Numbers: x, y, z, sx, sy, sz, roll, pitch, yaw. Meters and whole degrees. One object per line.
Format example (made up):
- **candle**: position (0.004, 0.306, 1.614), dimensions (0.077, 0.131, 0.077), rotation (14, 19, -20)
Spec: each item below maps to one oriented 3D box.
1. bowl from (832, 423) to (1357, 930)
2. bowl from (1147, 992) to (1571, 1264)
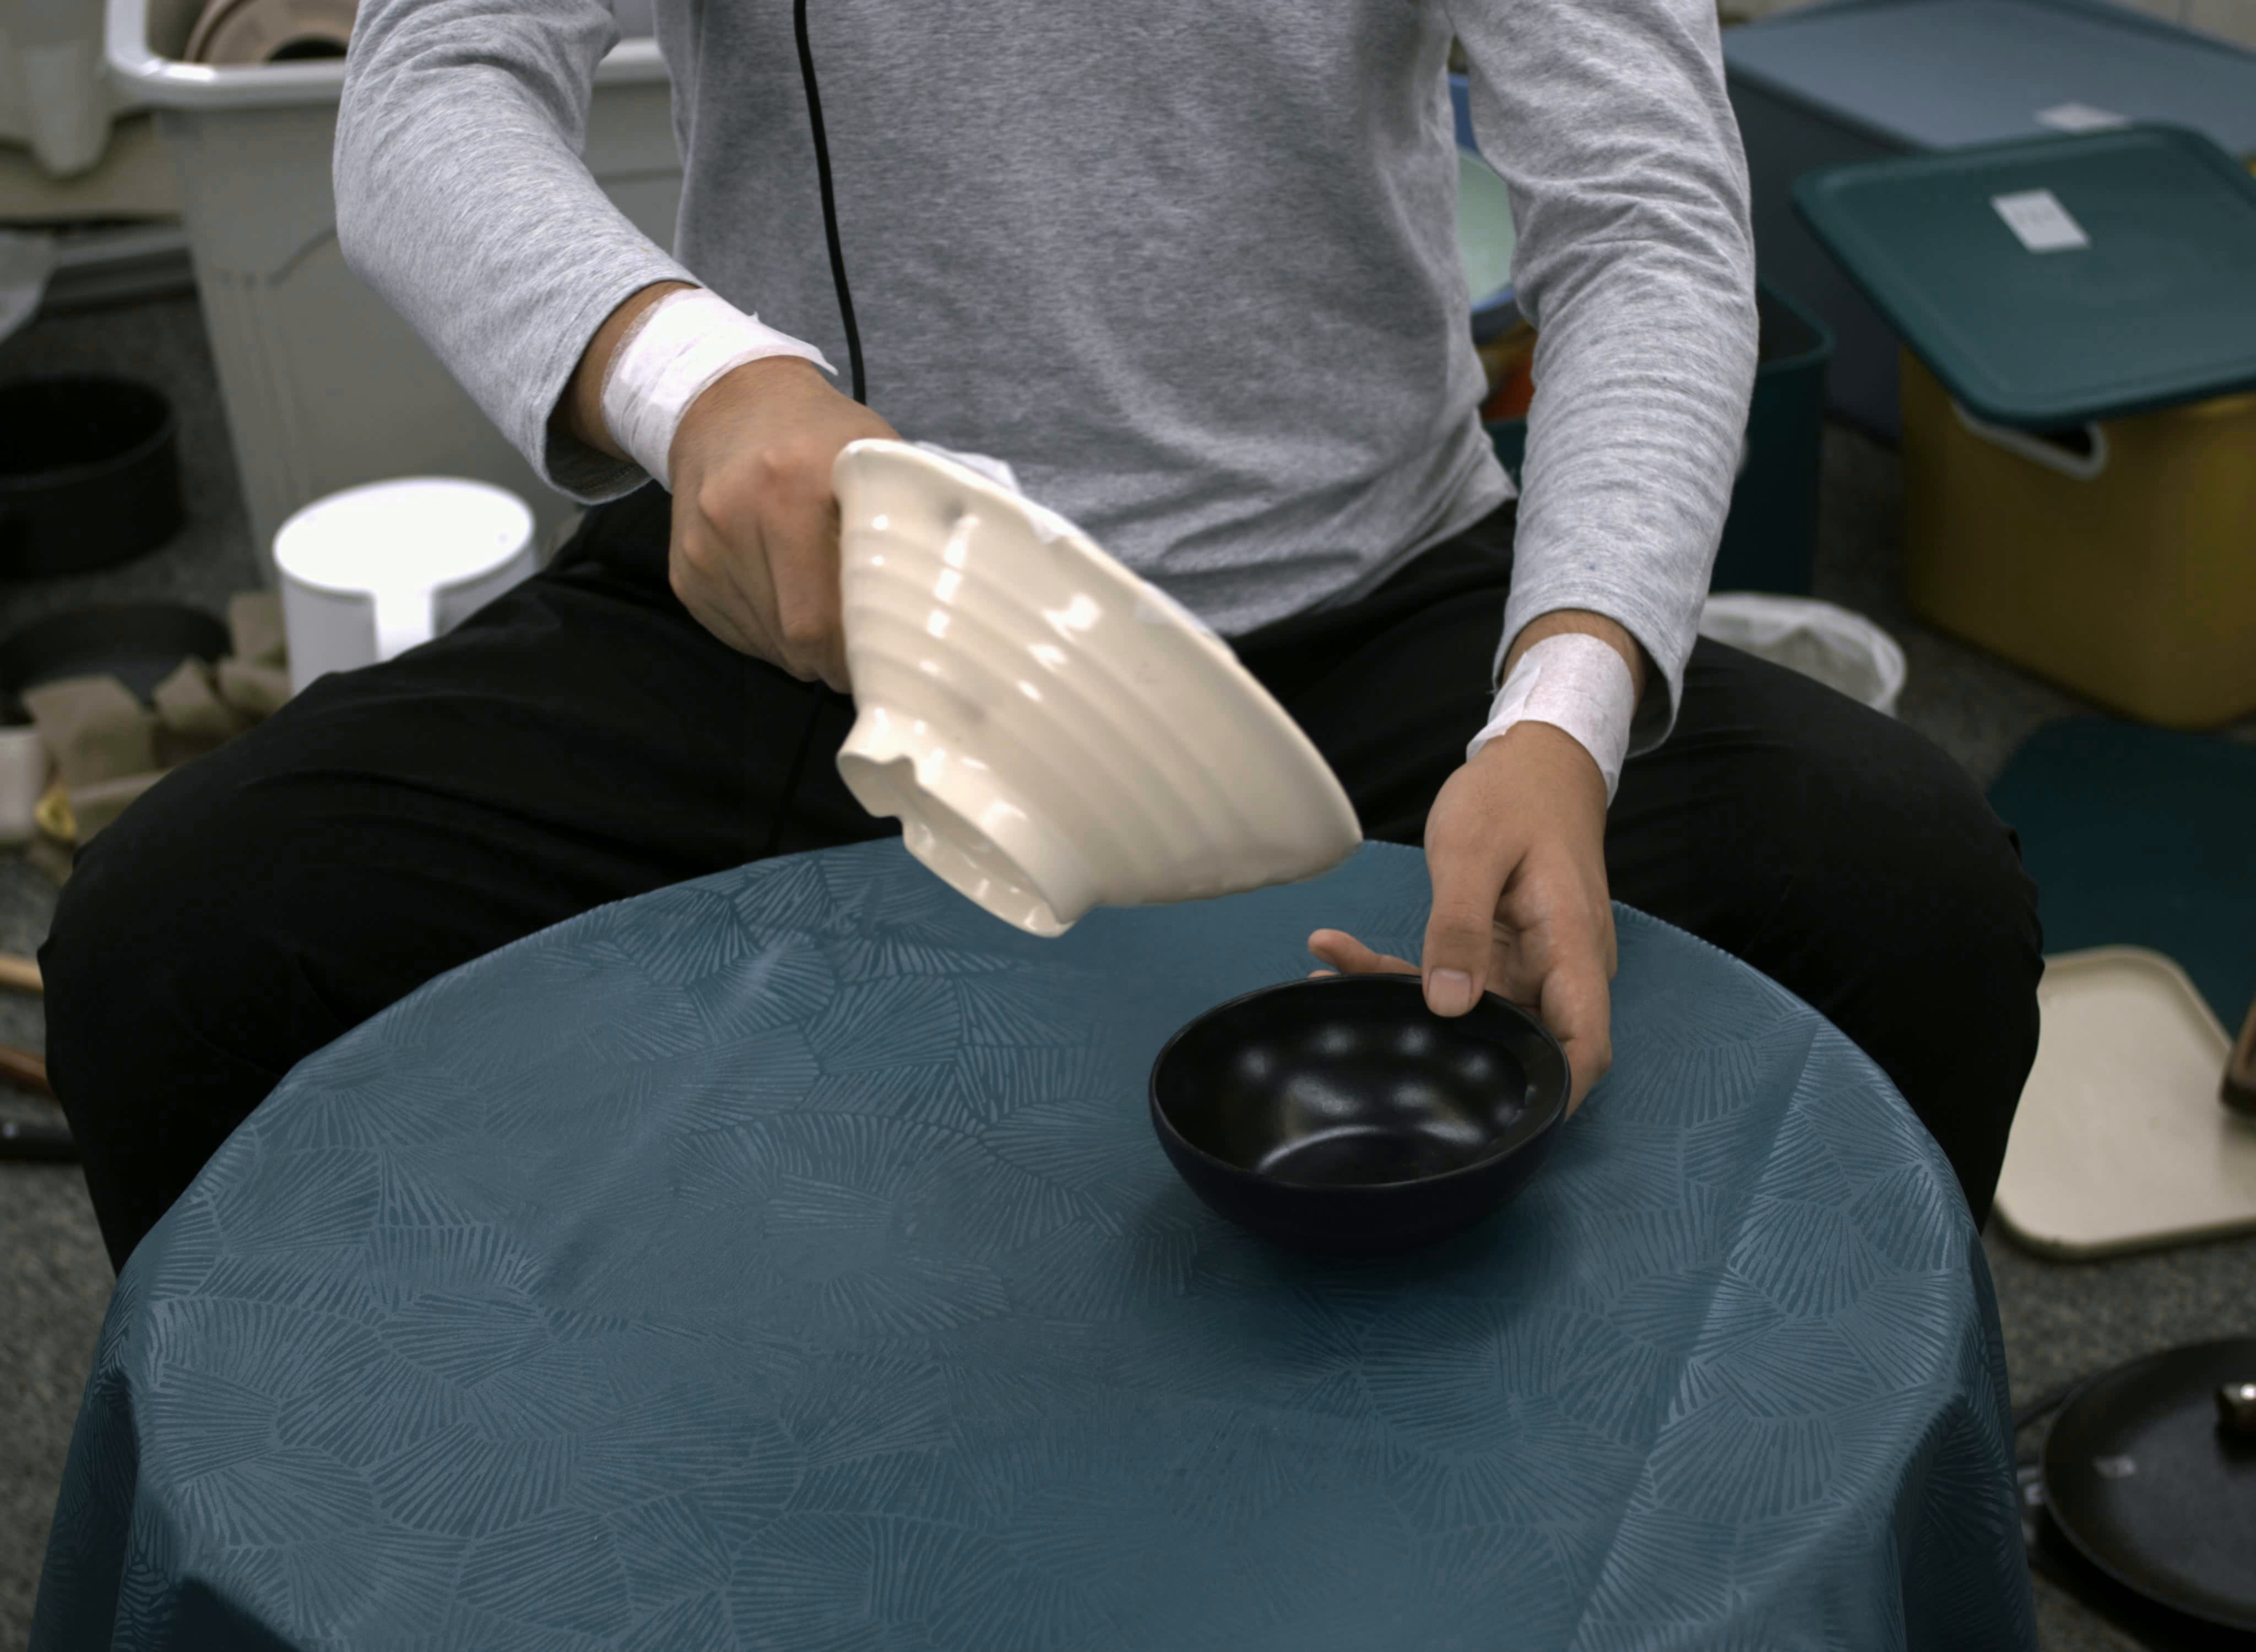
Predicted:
- **bowl**: position (-0.032, -0.026, 1.709), dimensions (0.204, 0.202, 0.079), rotation (26, 70, 43)
- **bowl**: position (0.076, 0.106, 1.839), dimensions (0.139, 0.049, 0.142), rotation (-1, 23, 1)
